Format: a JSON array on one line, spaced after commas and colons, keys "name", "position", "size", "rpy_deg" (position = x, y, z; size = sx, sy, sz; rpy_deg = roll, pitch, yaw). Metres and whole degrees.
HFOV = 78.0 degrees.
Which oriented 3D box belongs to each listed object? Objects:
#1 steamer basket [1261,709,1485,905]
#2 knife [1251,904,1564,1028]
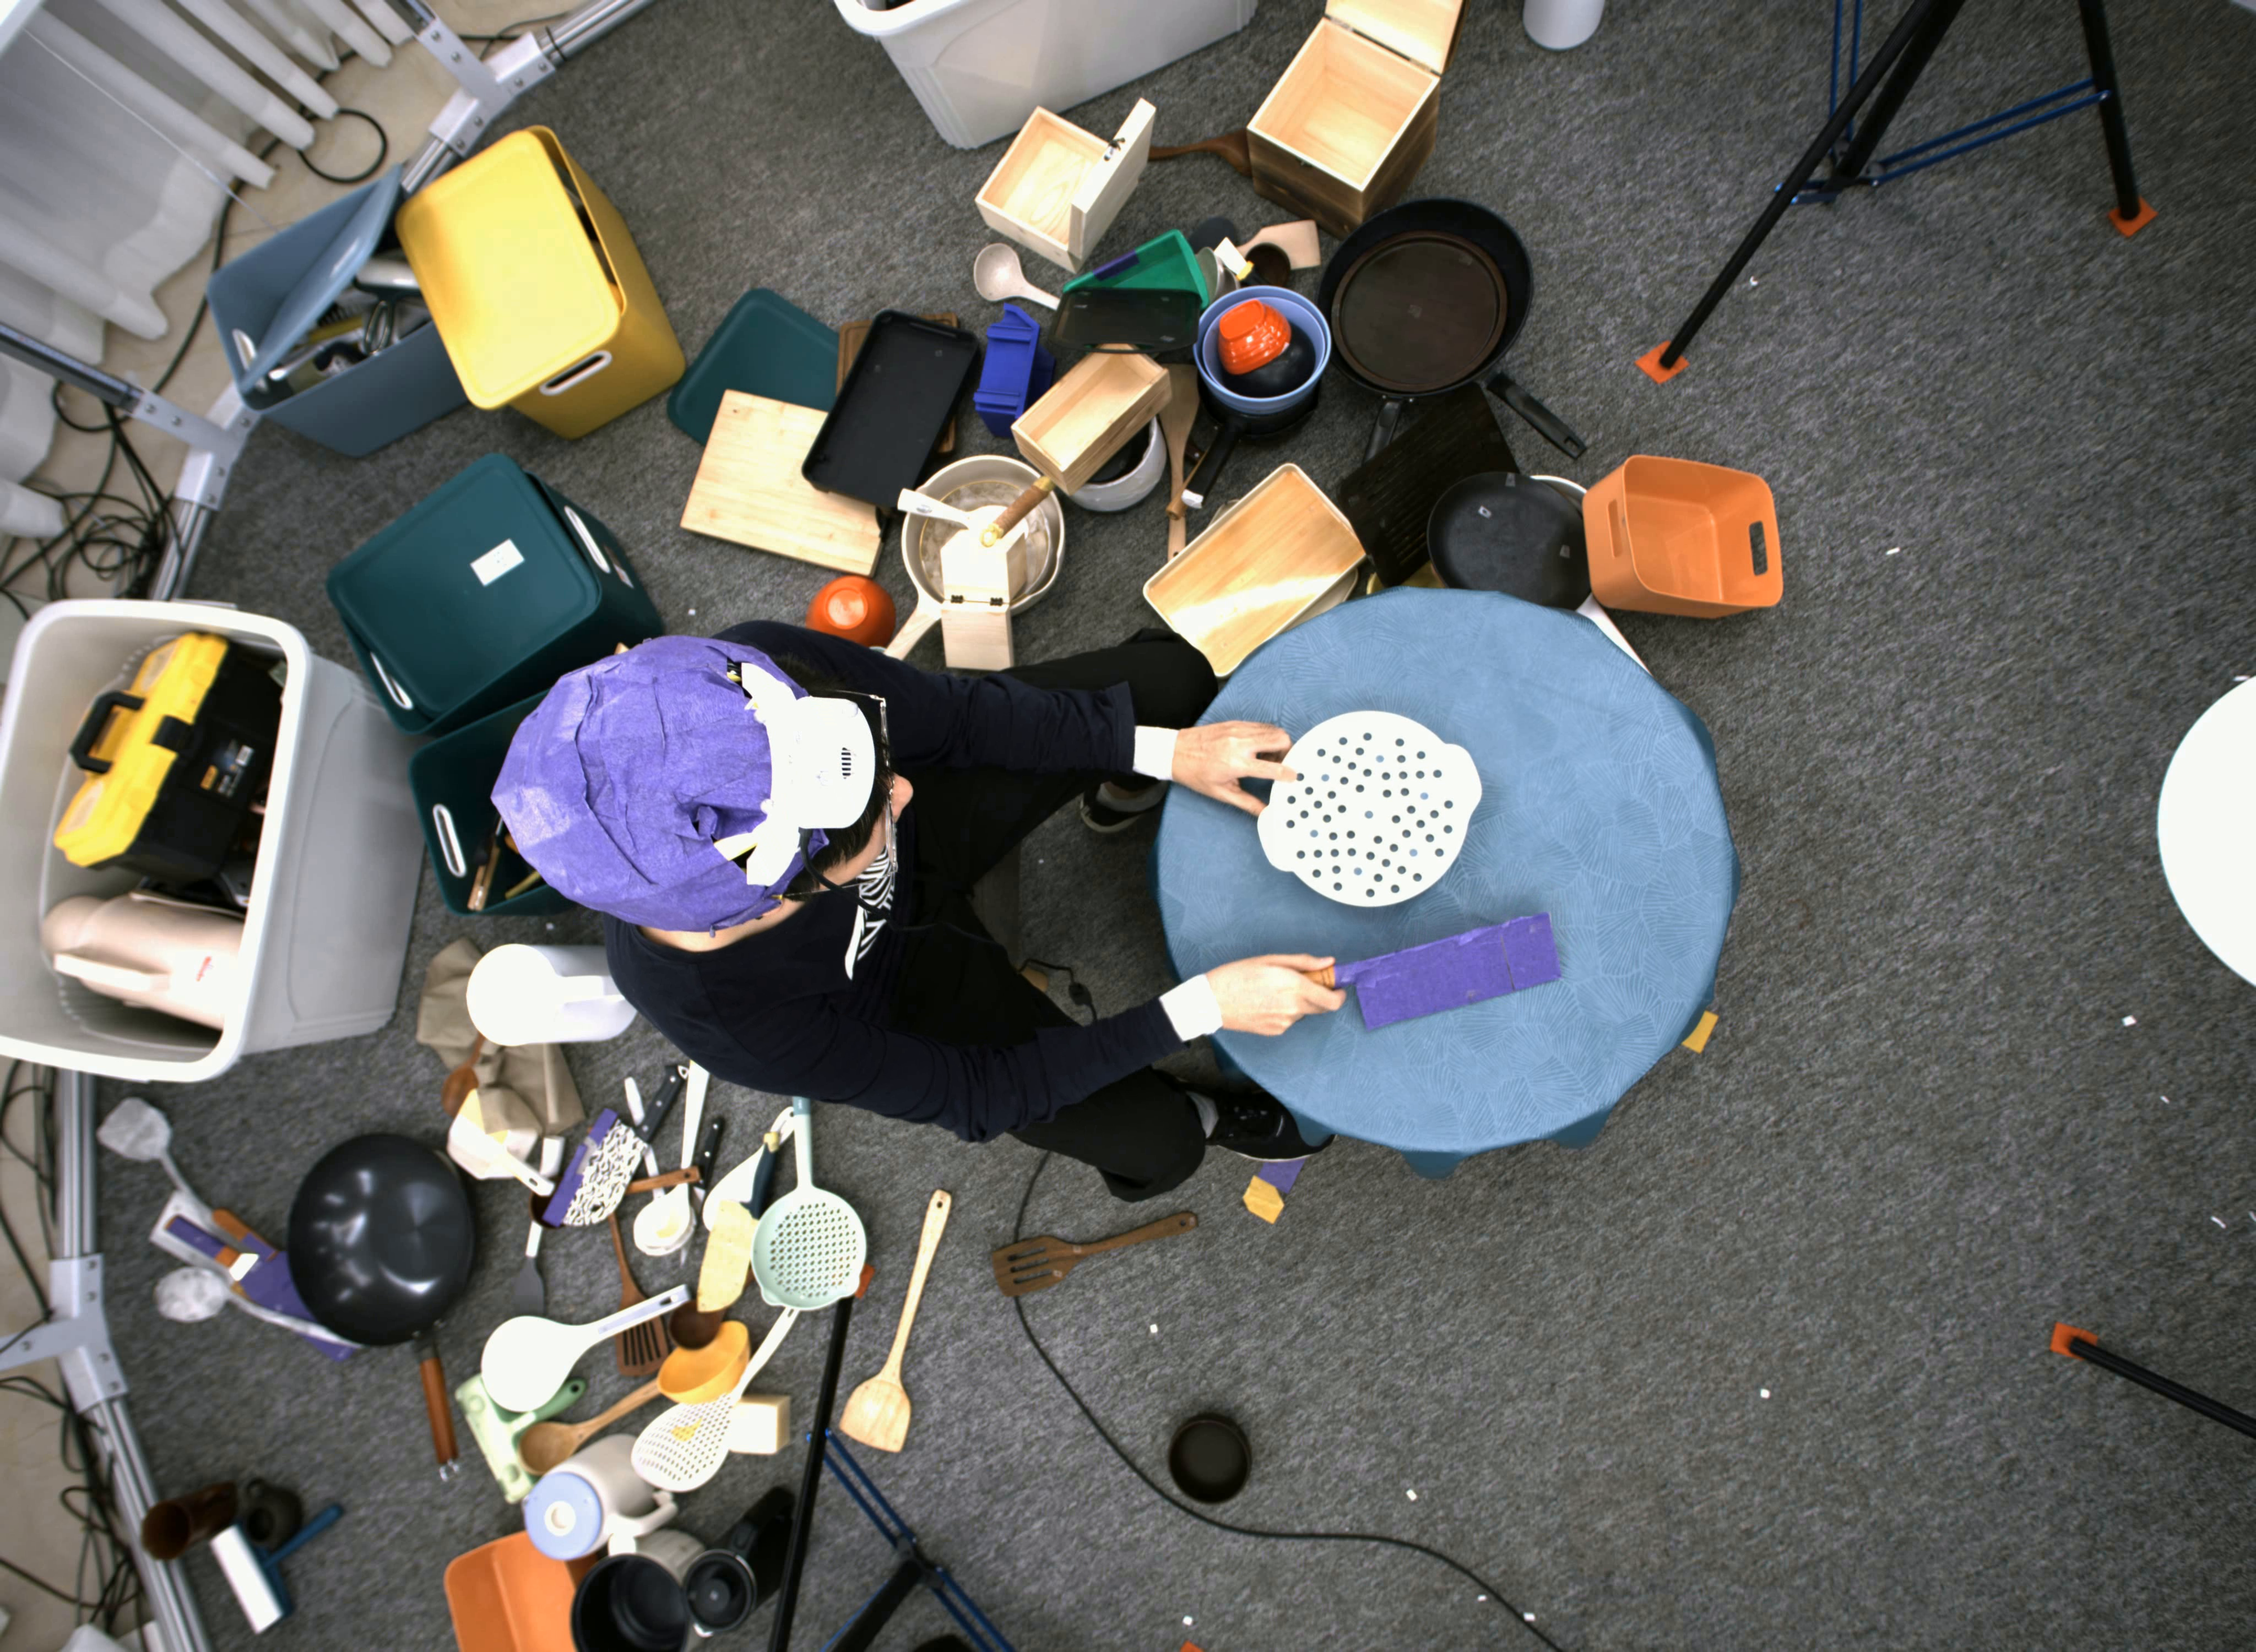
[{"name": "steamer basket", "position": [0.255, -0.018, 1.435], "size": [0.232, 0.069, 0.200], "rpy_deg": [-20, 82, 12]}, {"name": "knife", "position": [0.288, 0.160, 1.413], "size": [0.317, 0.031, 0.106], "rpy_deg": [-15, 119, 10]}]
